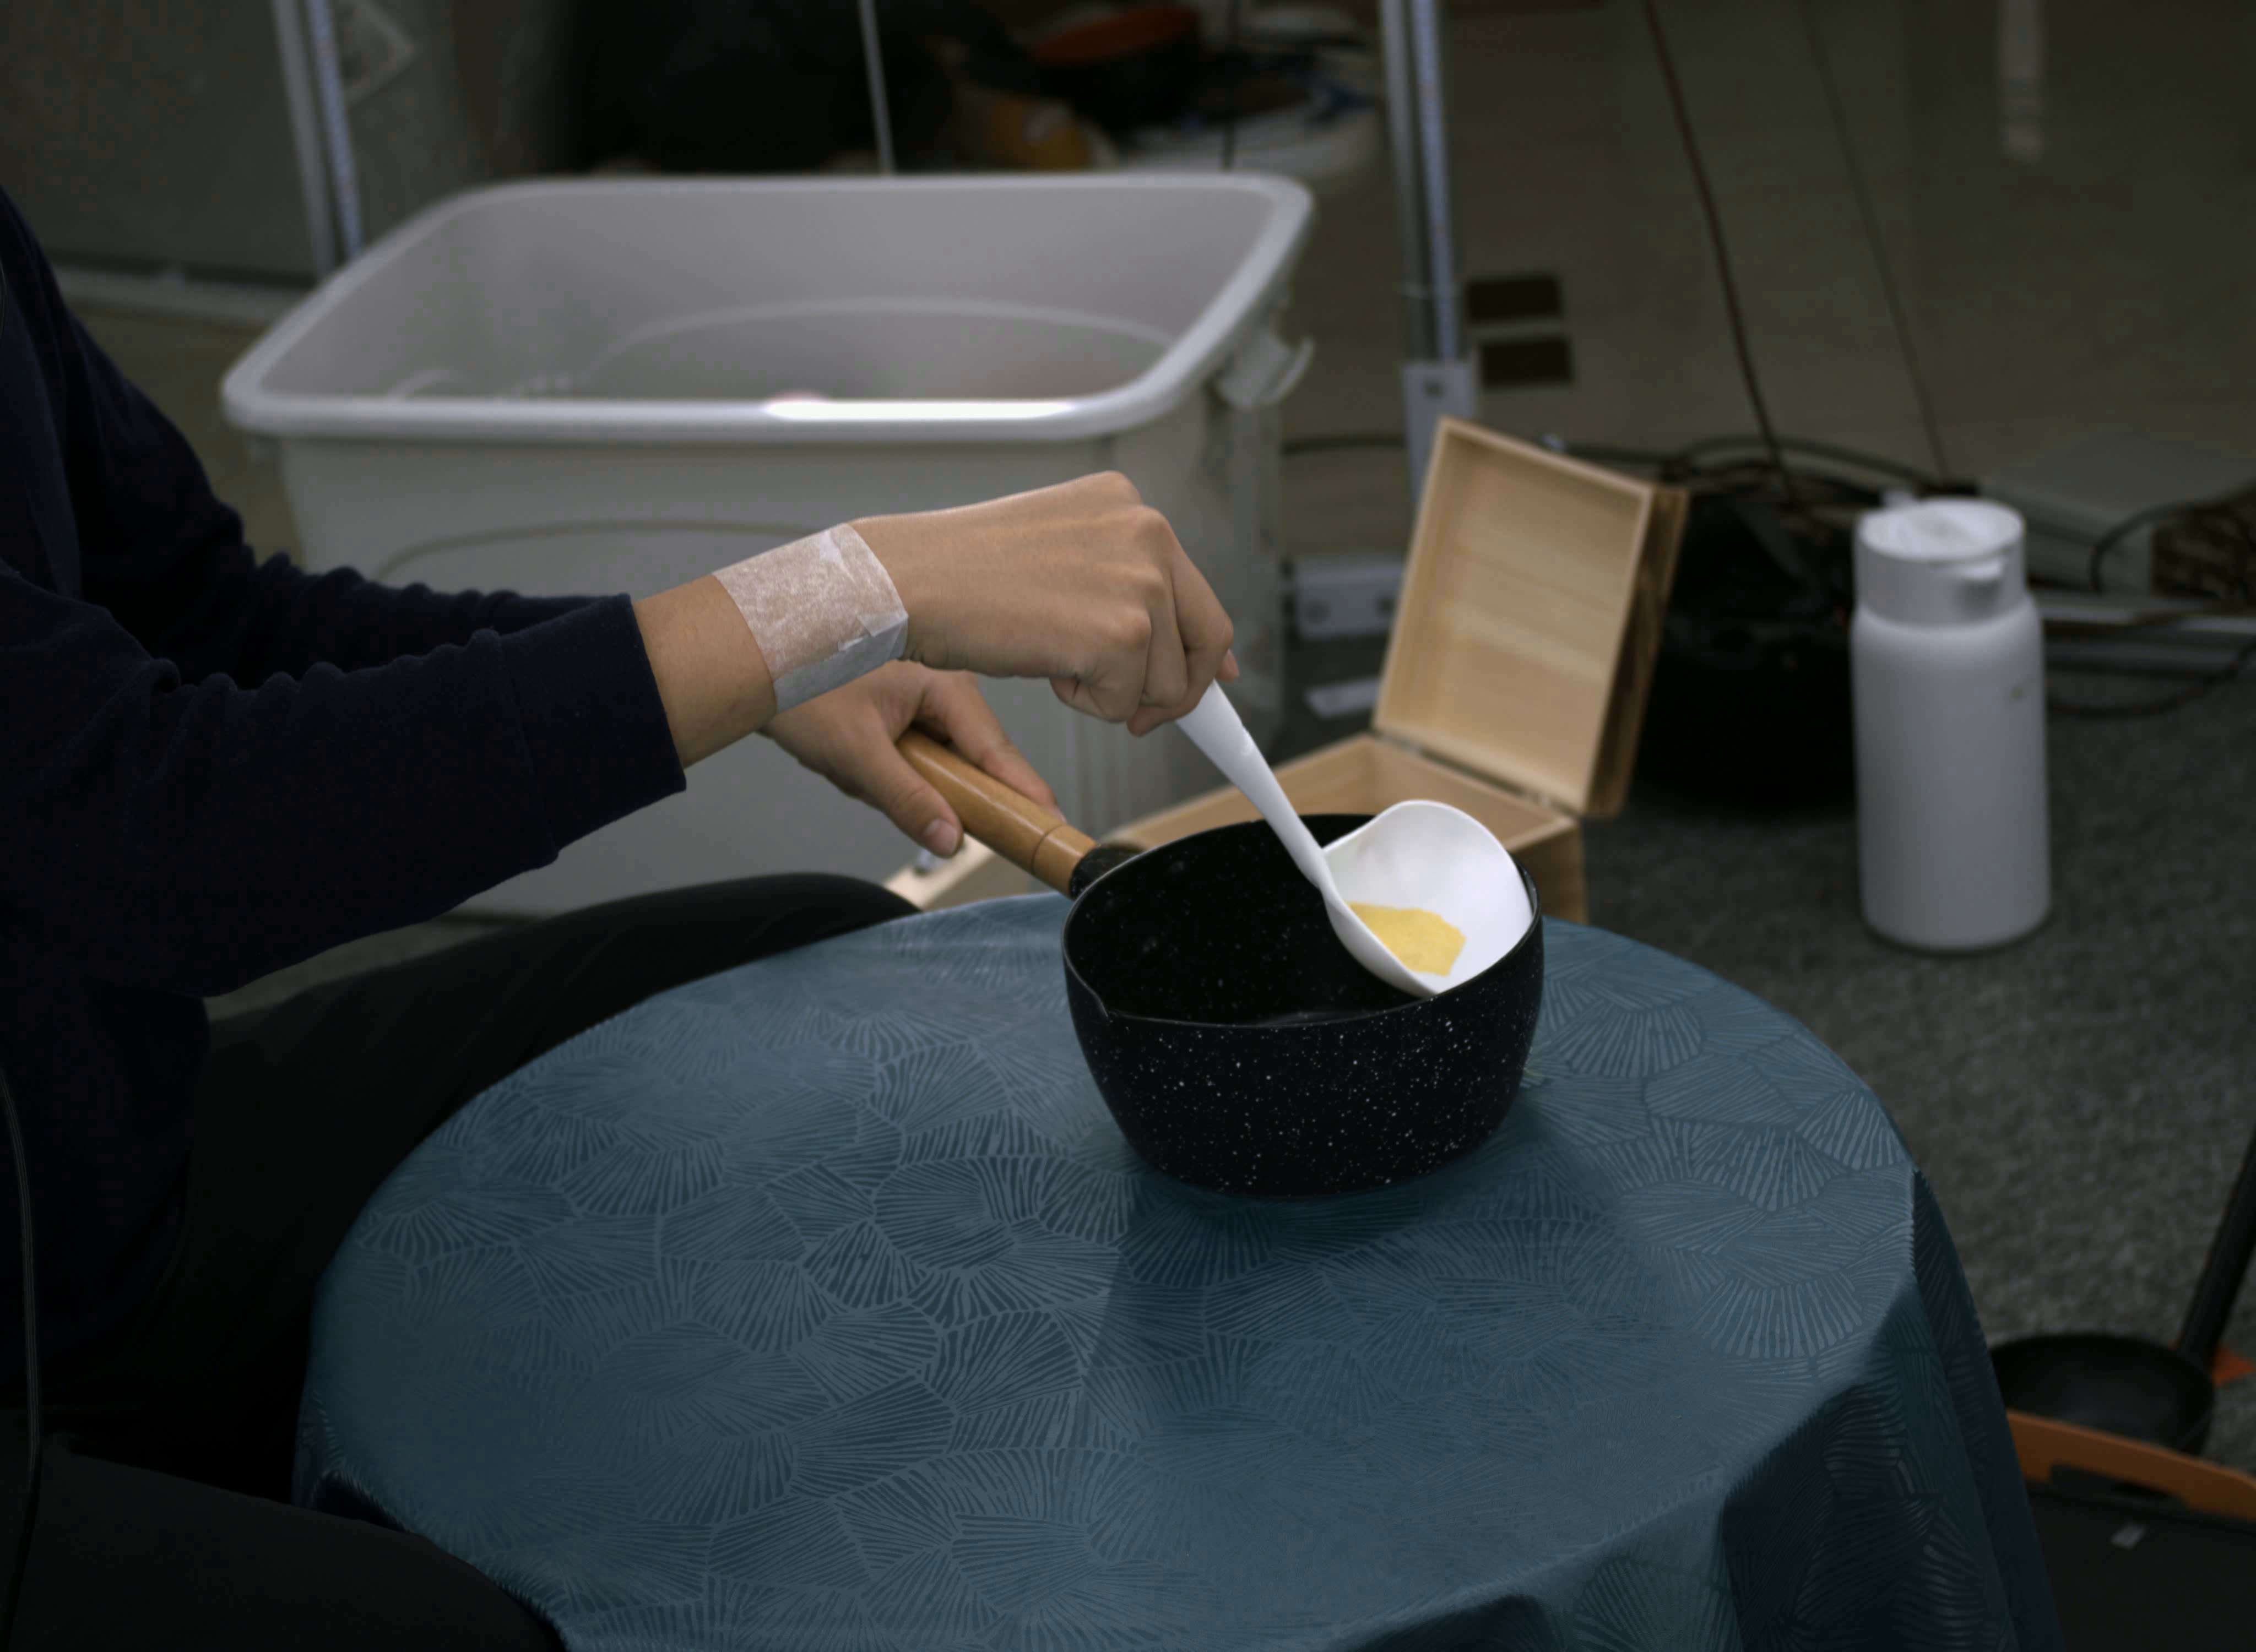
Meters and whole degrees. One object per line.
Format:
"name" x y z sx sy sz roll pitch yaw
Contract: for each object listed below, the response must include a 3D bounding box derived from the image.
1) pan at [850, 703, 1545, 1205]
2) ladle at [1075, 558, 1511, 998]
"pan" 0.012 0.043 2.220 0.340 0.110 0.205 20 37 41
"ladle" 0.067 -0.011 2.062 0.070 0.297 0.089 -10 57 19
